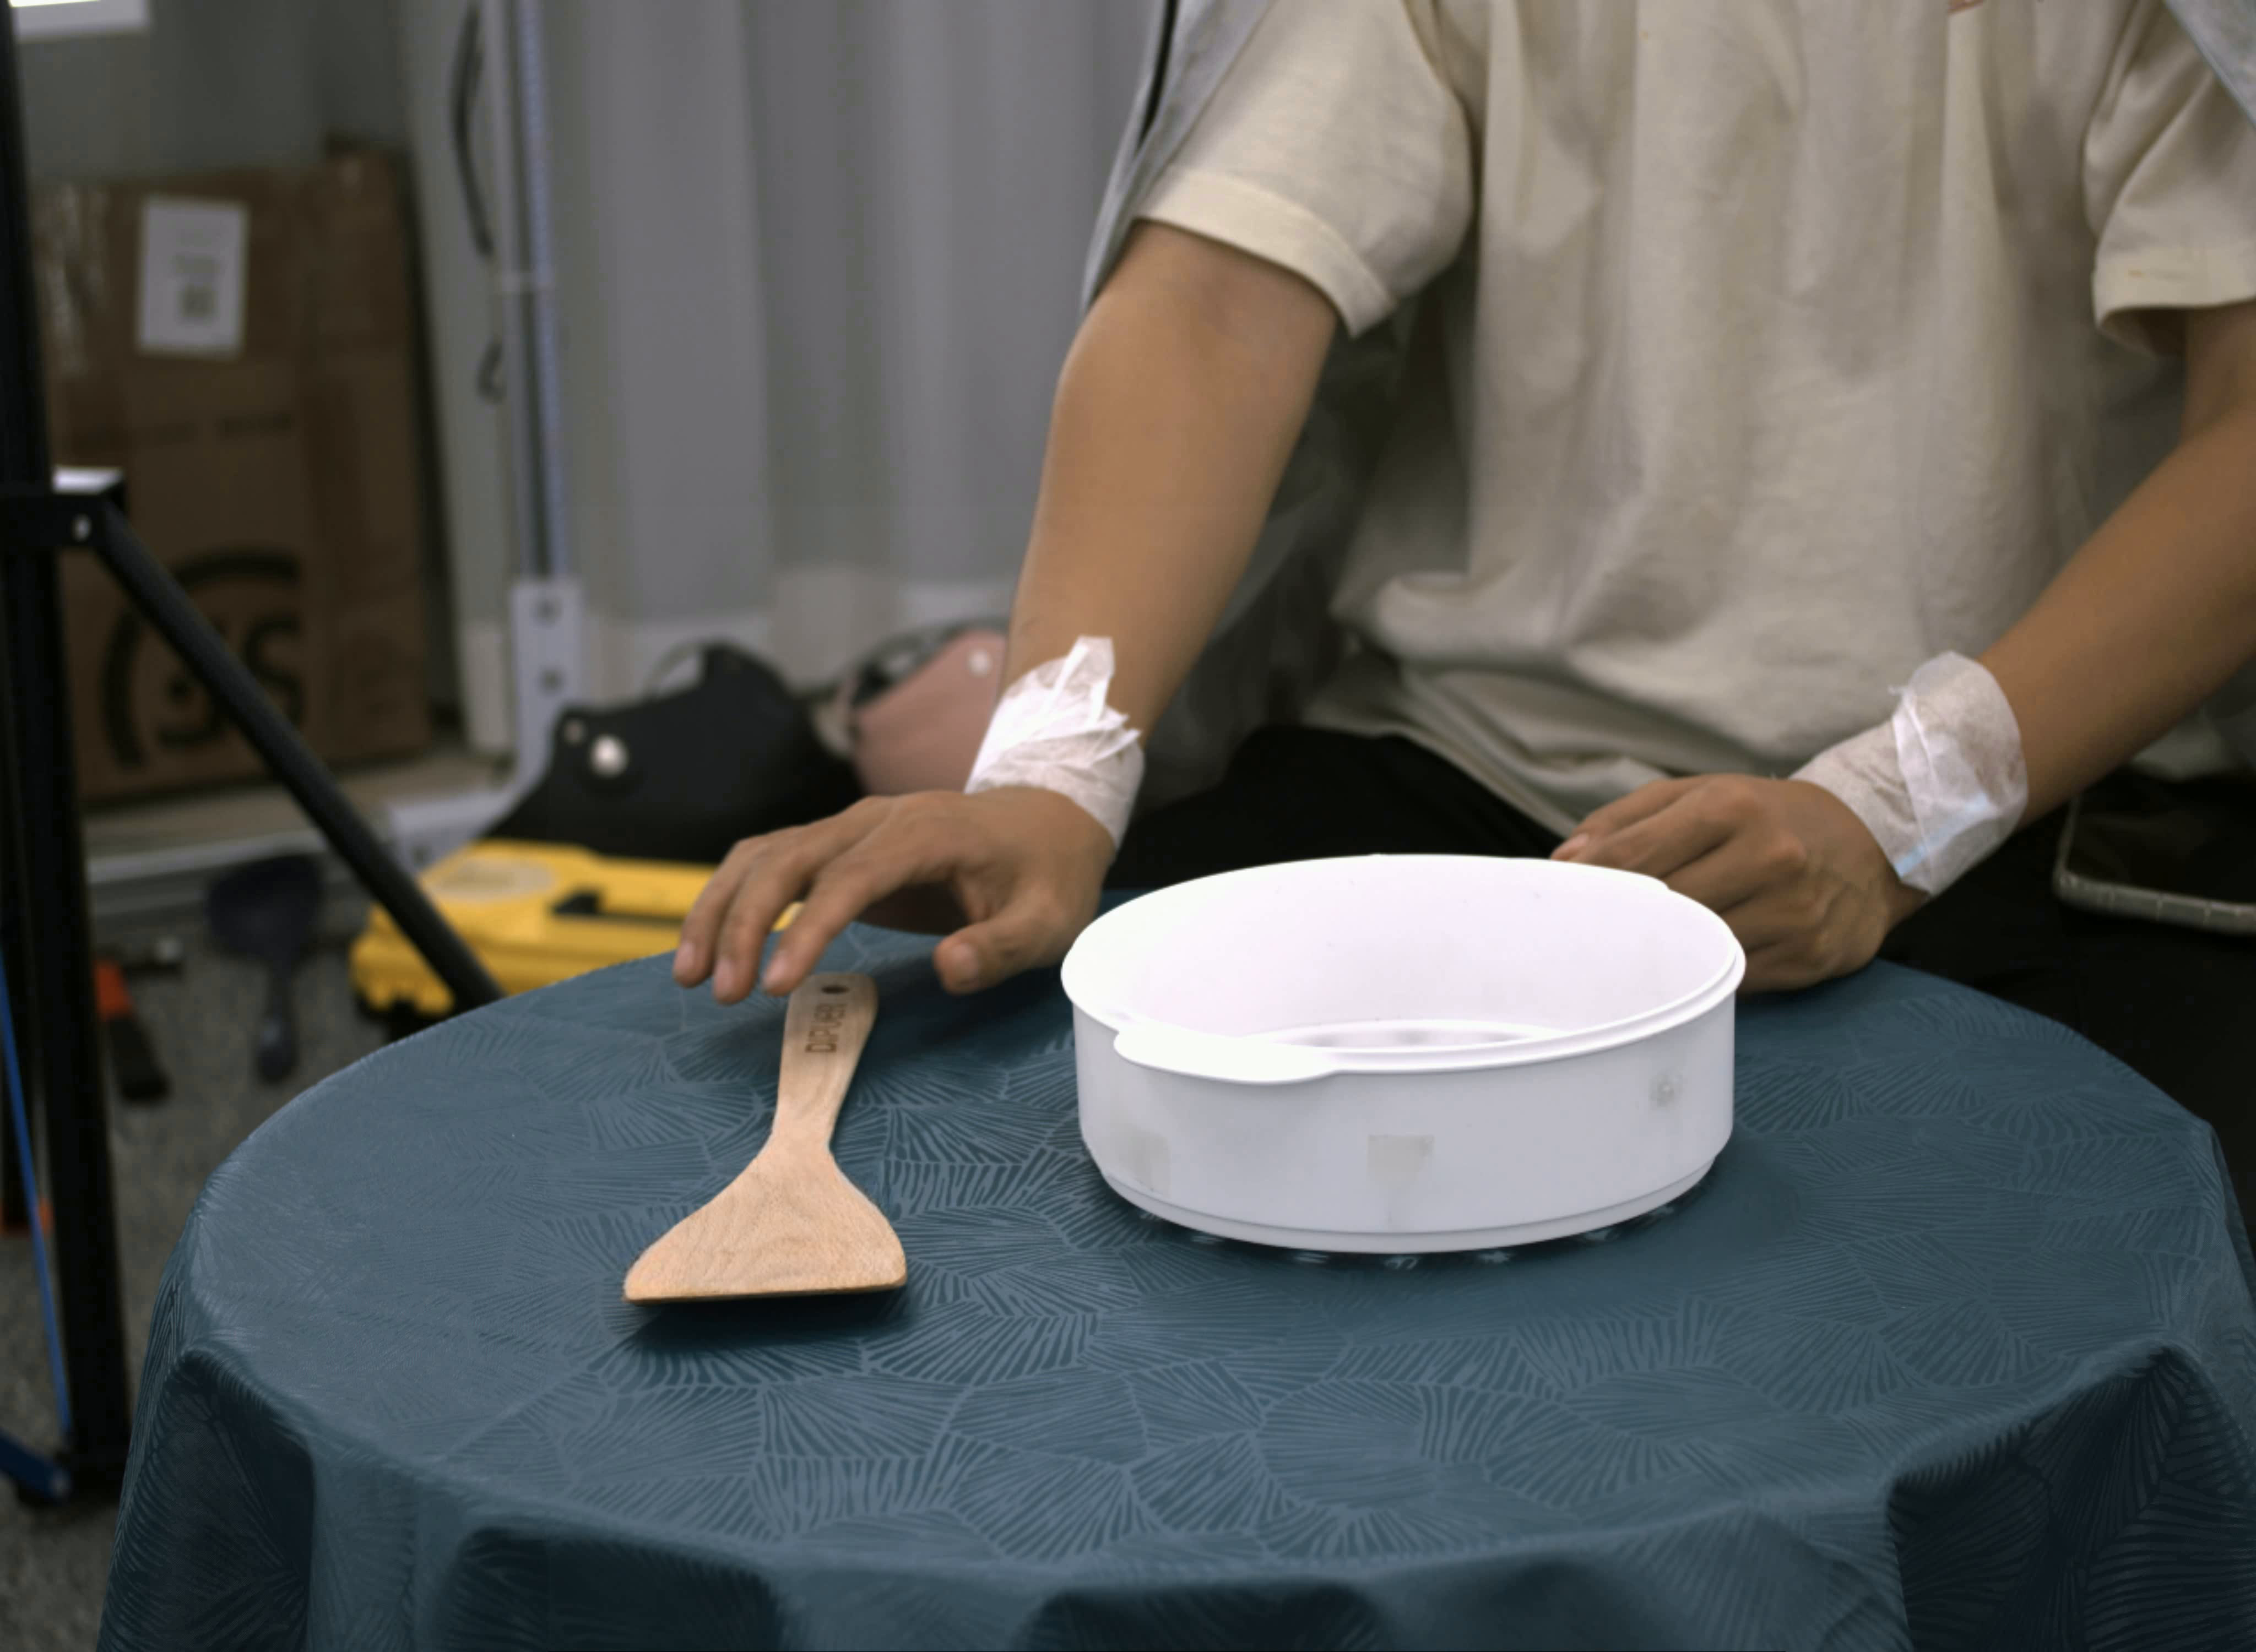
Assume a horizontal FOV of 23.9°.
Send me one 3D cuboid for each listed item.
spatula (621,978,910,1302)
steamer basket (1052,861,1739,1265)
[{"bbox_3d":[-0.099,0.091,1.599,0.079,0.016,0.328,-2,15,1],"label":"spatula"},{"bbox_3d":[0.078,0.070,1.559,0.206,0.069,0.226,10,19,34],"label":"steamer basket"}]
